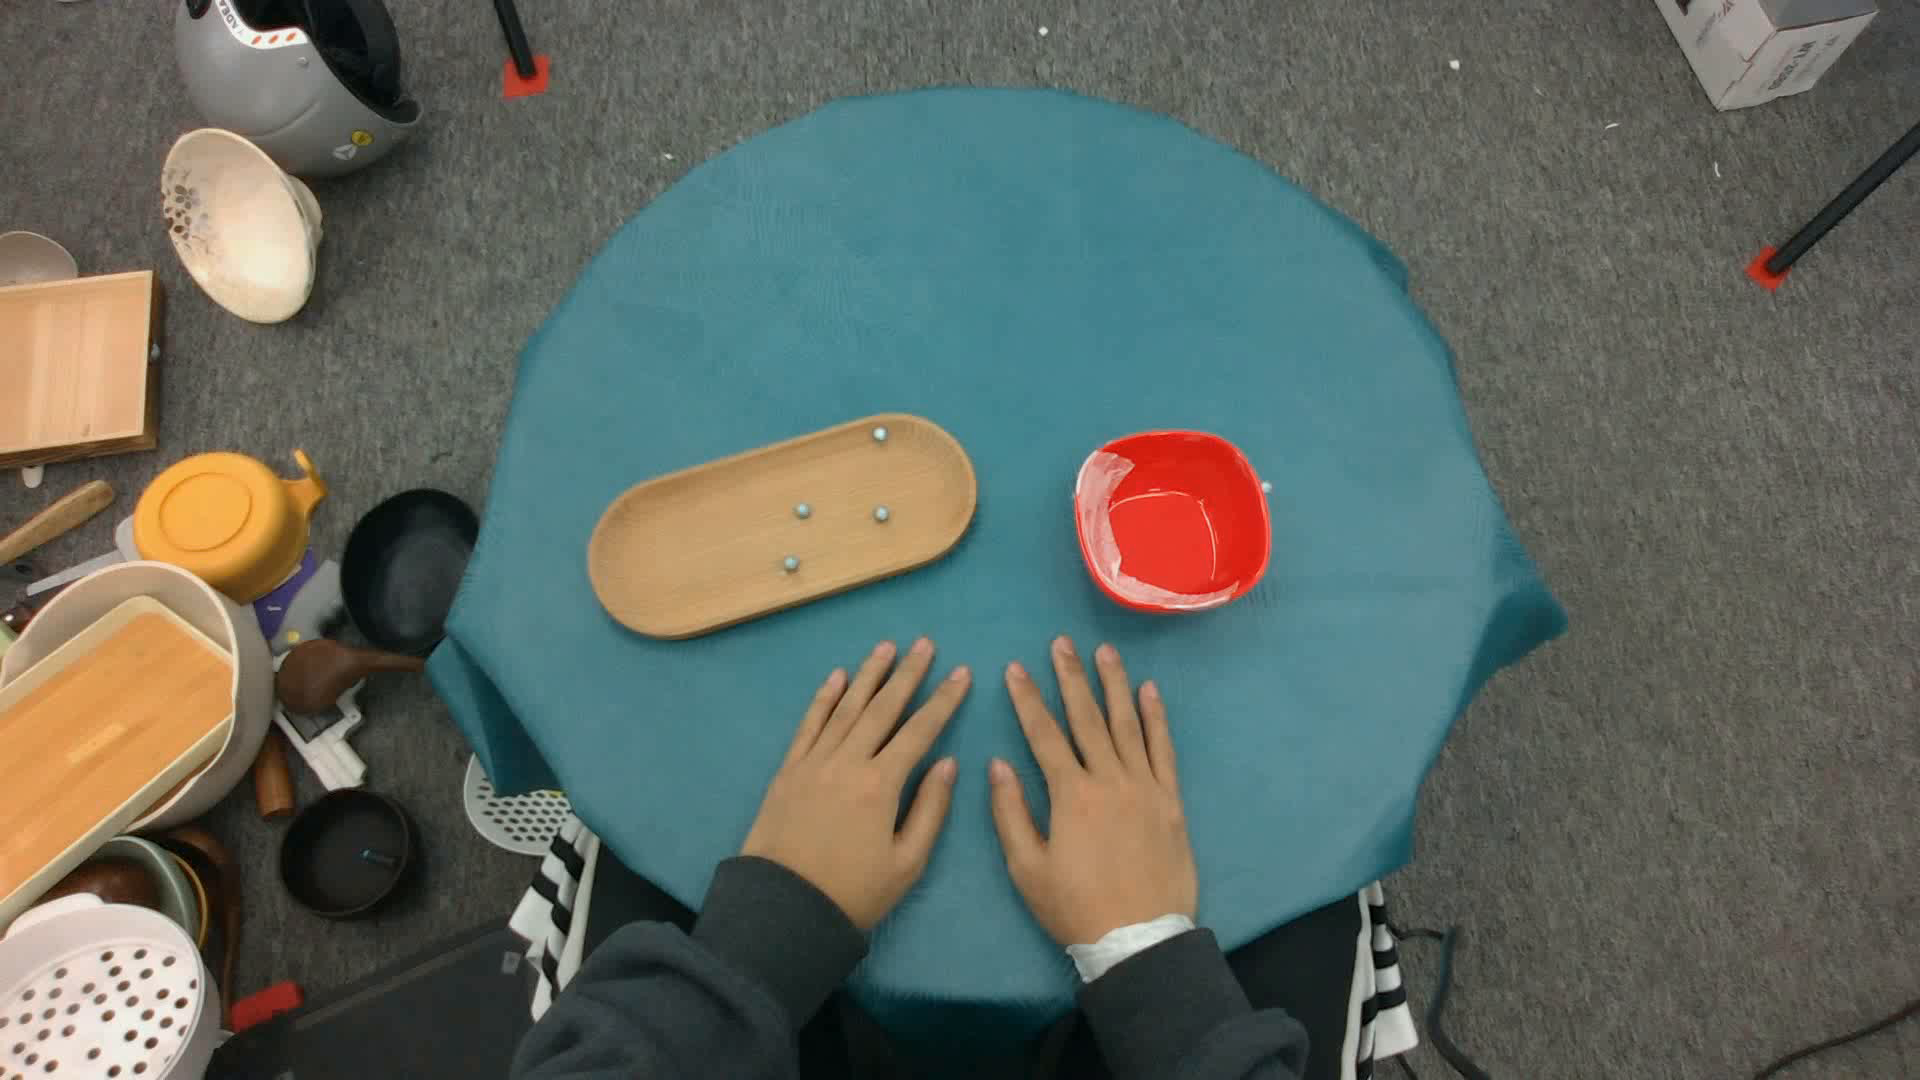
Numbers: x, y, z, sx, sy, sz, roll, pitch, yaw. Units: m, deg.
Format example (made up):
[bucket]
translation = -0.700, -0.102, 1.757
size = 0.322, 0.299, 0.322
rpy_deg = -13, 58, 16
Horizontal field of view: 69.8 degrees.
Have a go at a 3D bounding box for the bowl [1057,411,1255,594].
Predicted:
[bowl]
translation = 0.109, -0.014, 0.795
size = 0.119, 0.051, 0.119
rpy_deg = 1, 66, -3

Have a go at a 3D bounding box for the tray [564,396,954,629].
[tray]
translation = -0.115, -0.017, 0.807
size = 0.231, 0.020, 0.102
rpy_deg = -19, 69, -9
